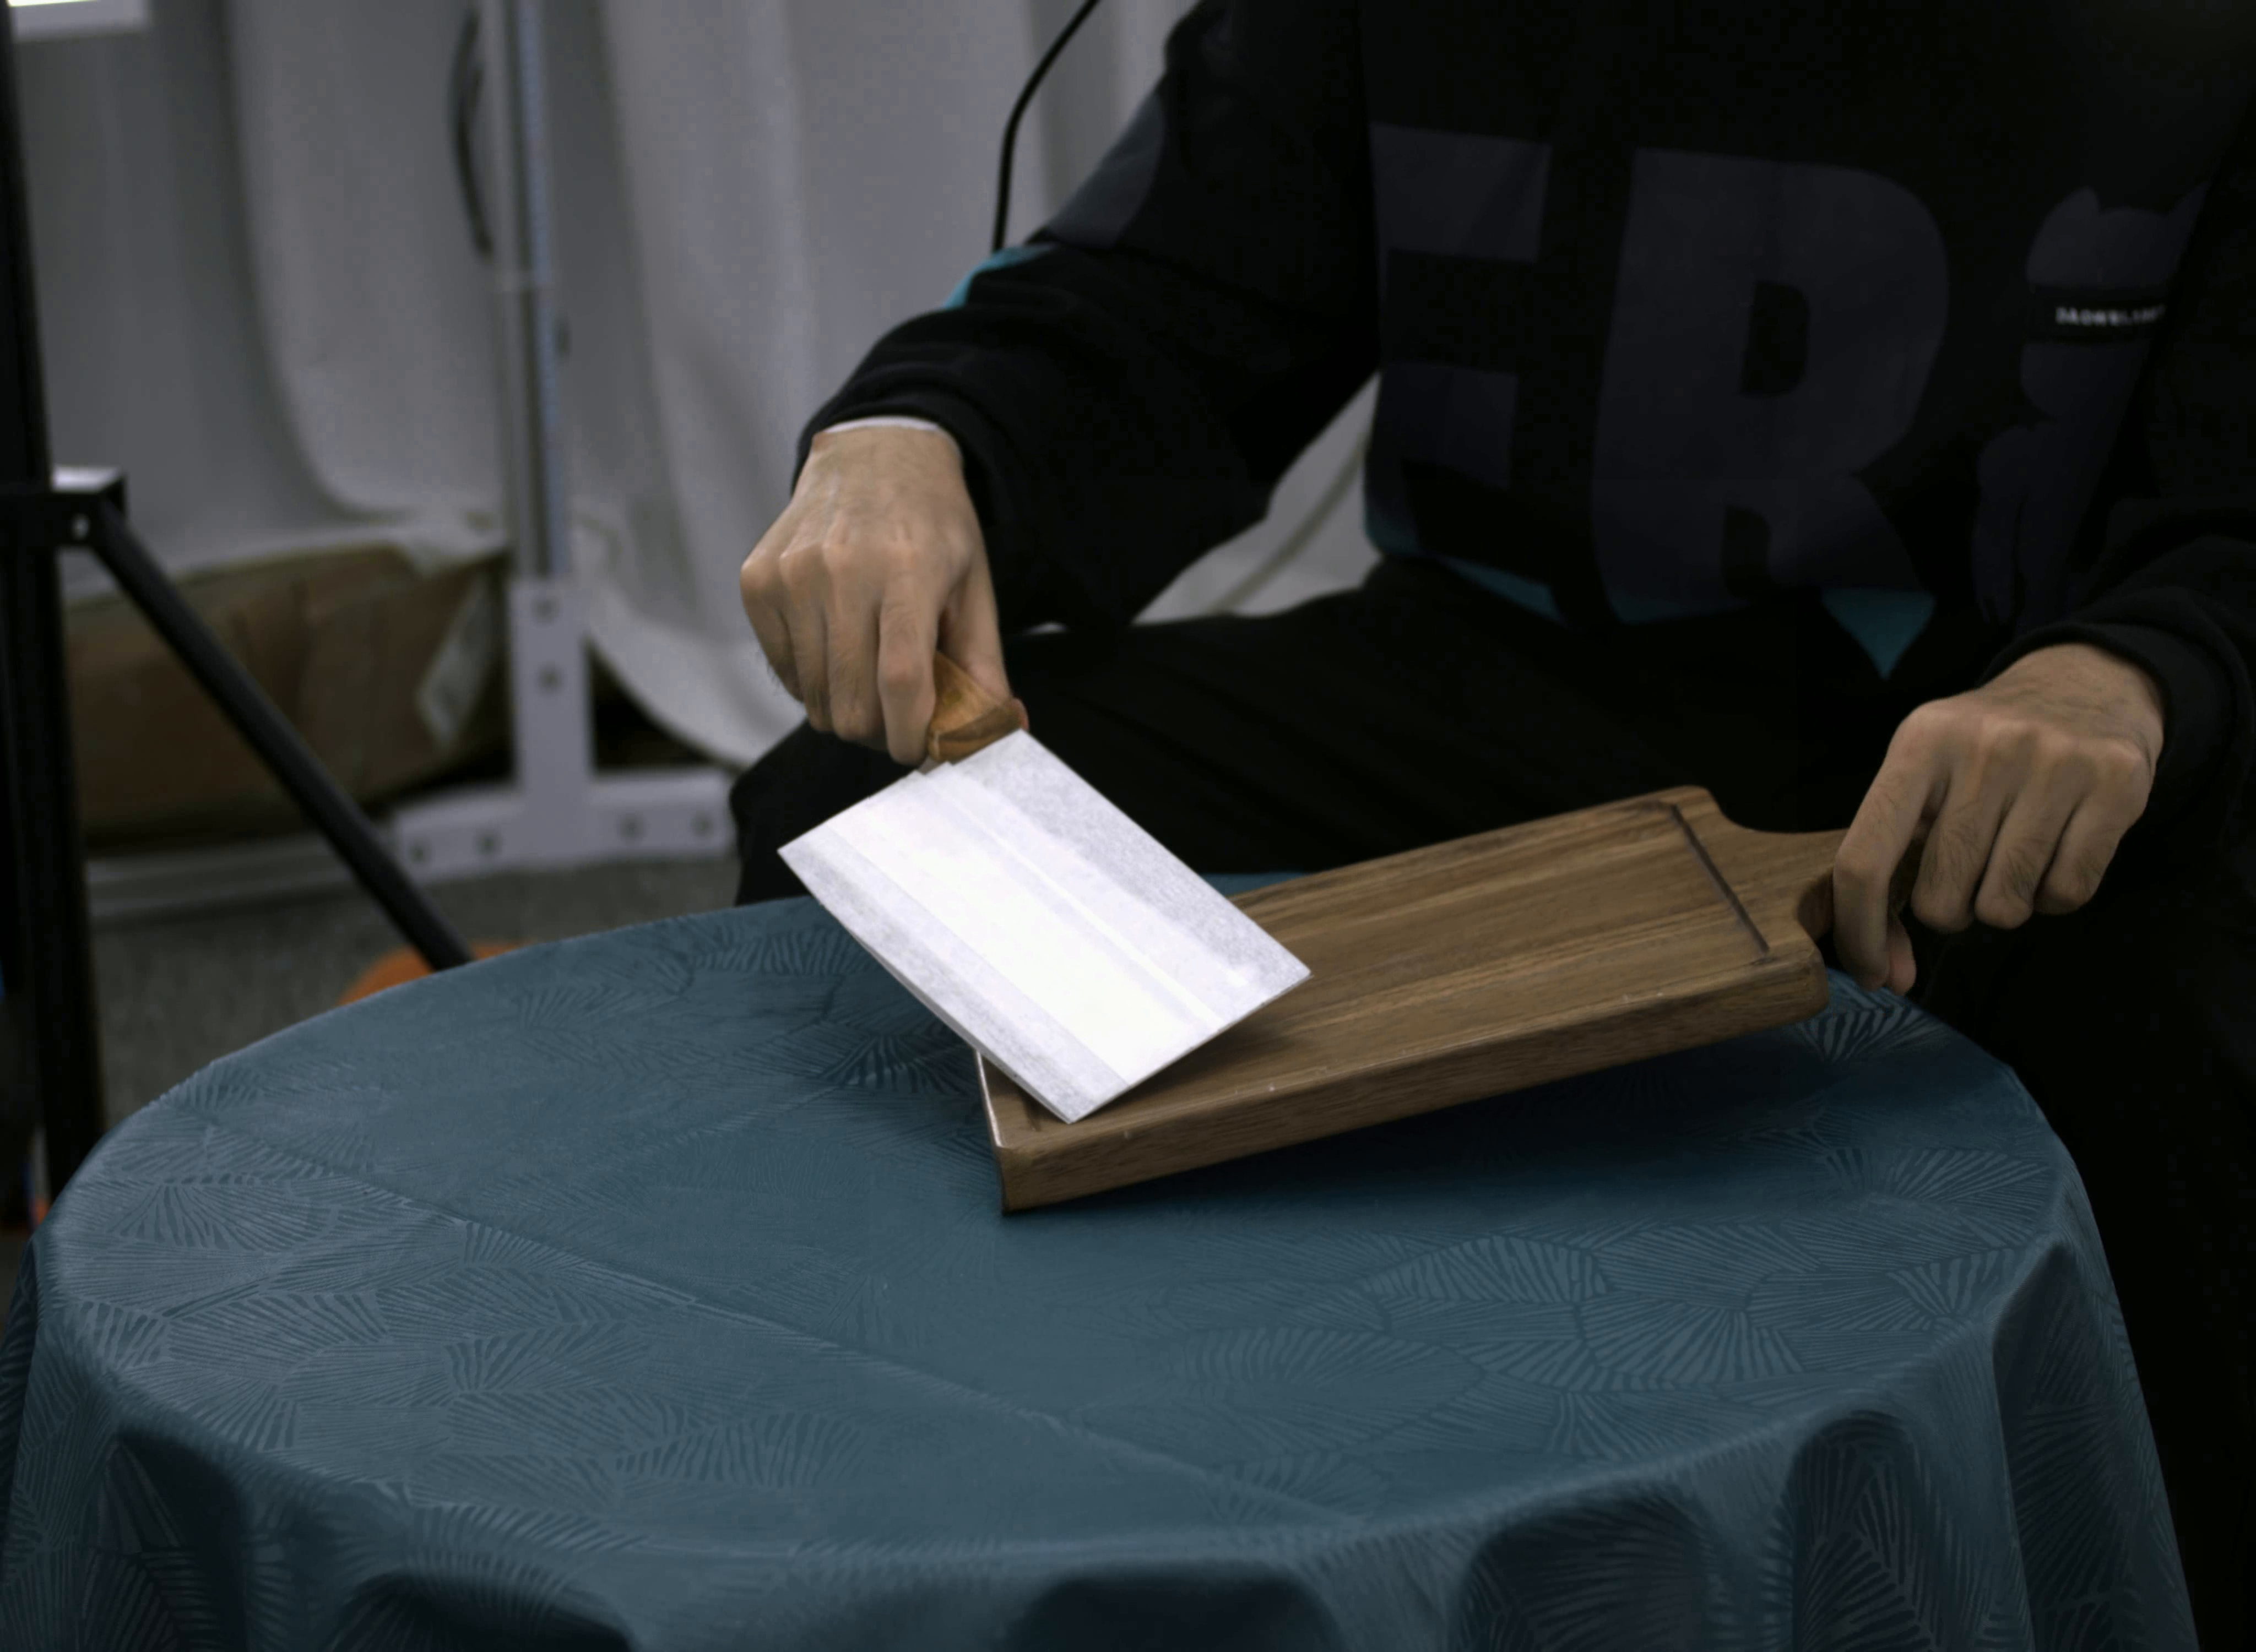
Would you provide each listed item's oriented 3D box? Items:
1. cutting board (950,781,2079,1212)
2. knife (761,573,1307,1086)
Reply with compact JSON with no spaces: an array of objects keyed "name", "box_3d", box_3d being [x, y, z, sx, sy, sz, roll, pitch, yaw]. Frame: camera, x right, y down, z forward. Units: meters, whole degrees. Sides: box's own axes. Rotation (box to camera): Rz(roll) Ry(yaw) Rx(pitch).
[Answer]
[{"name":"cutting board","box_3d":[0.123,0.039,1.631,0.350,0.023,0.202,-13,16,0]},{"name":"knife","box_3d":[-0.056,0.001,1.691,0.092,0.021,0.313,-32,38,-15]}]
